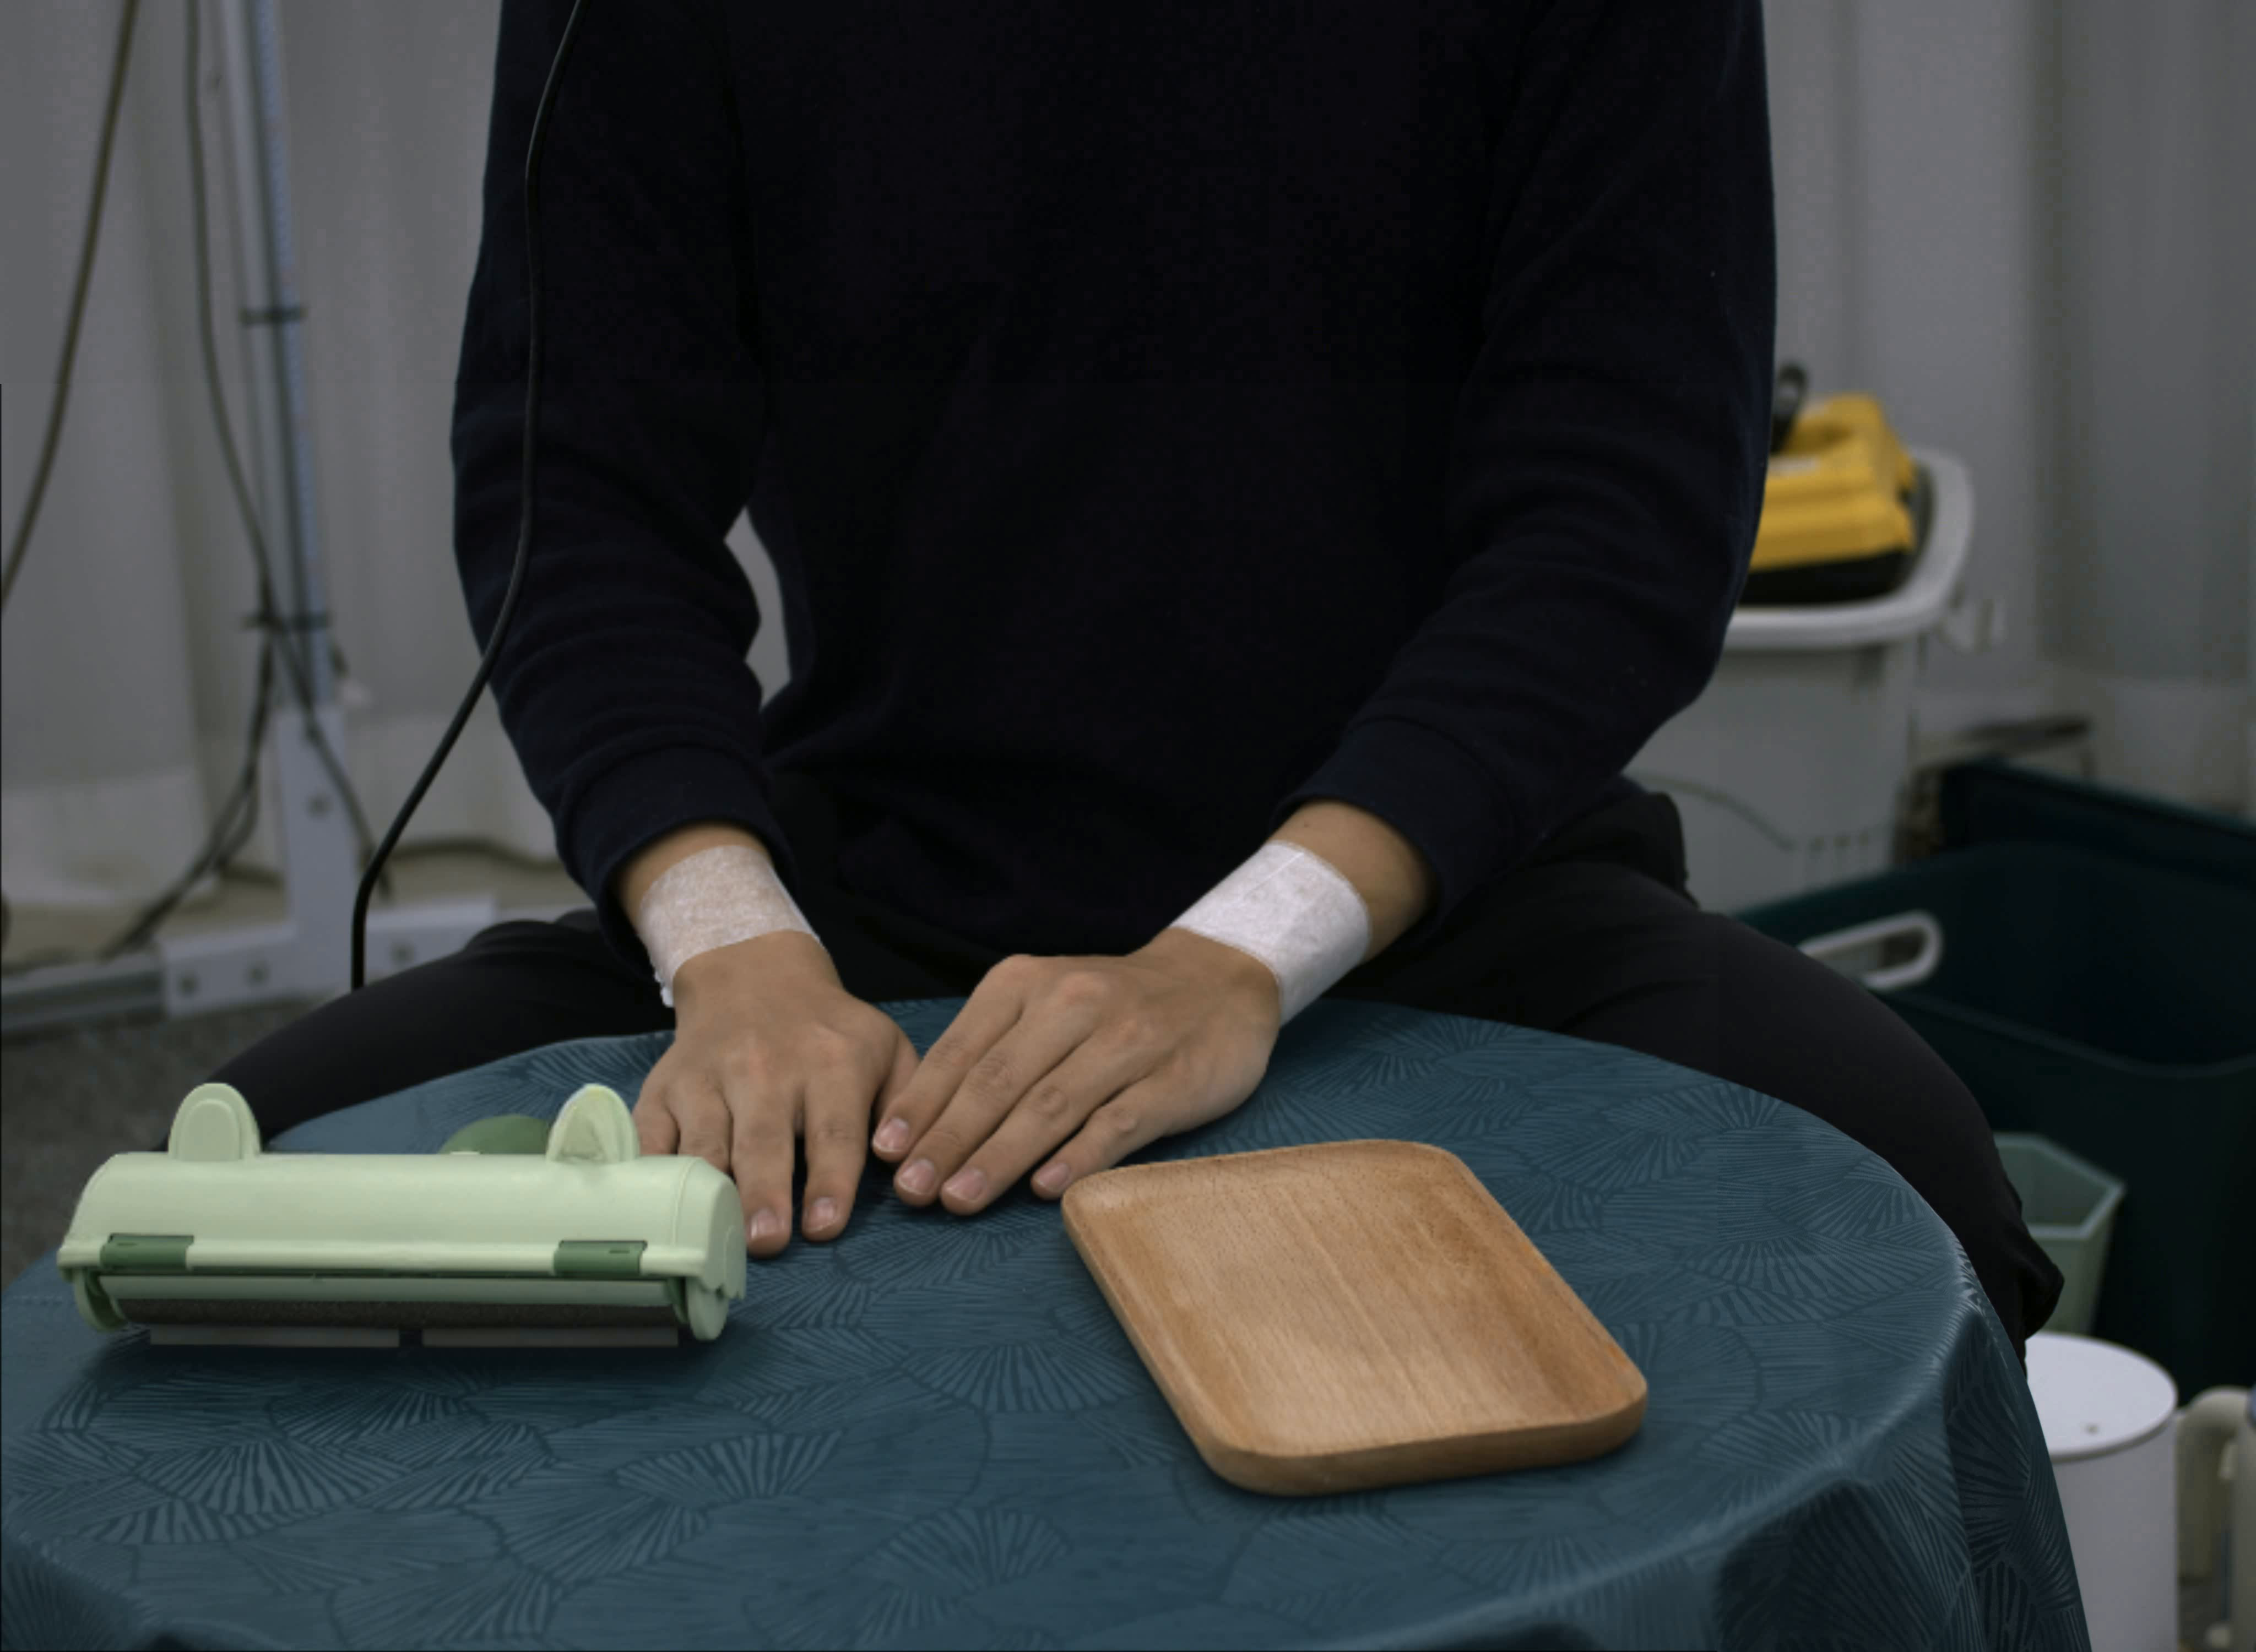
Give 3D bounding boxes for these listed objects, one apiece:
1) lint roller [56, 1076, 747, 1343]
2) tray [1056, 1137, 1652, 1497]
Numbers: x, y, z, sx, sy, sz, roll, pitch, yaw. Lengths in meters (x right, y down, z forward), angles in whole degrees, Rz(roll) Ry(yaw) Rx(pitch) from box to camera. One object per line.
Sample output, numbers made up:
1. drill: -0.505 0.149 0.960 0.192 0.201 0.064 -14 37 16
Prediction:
1. lint roller: -0.205 0.096 1.658 0.198 0.081 0.185 0 21 9
2. tray: 0.061 0.139 1.581 0.130 0.023 0.252 -4 14 -10
